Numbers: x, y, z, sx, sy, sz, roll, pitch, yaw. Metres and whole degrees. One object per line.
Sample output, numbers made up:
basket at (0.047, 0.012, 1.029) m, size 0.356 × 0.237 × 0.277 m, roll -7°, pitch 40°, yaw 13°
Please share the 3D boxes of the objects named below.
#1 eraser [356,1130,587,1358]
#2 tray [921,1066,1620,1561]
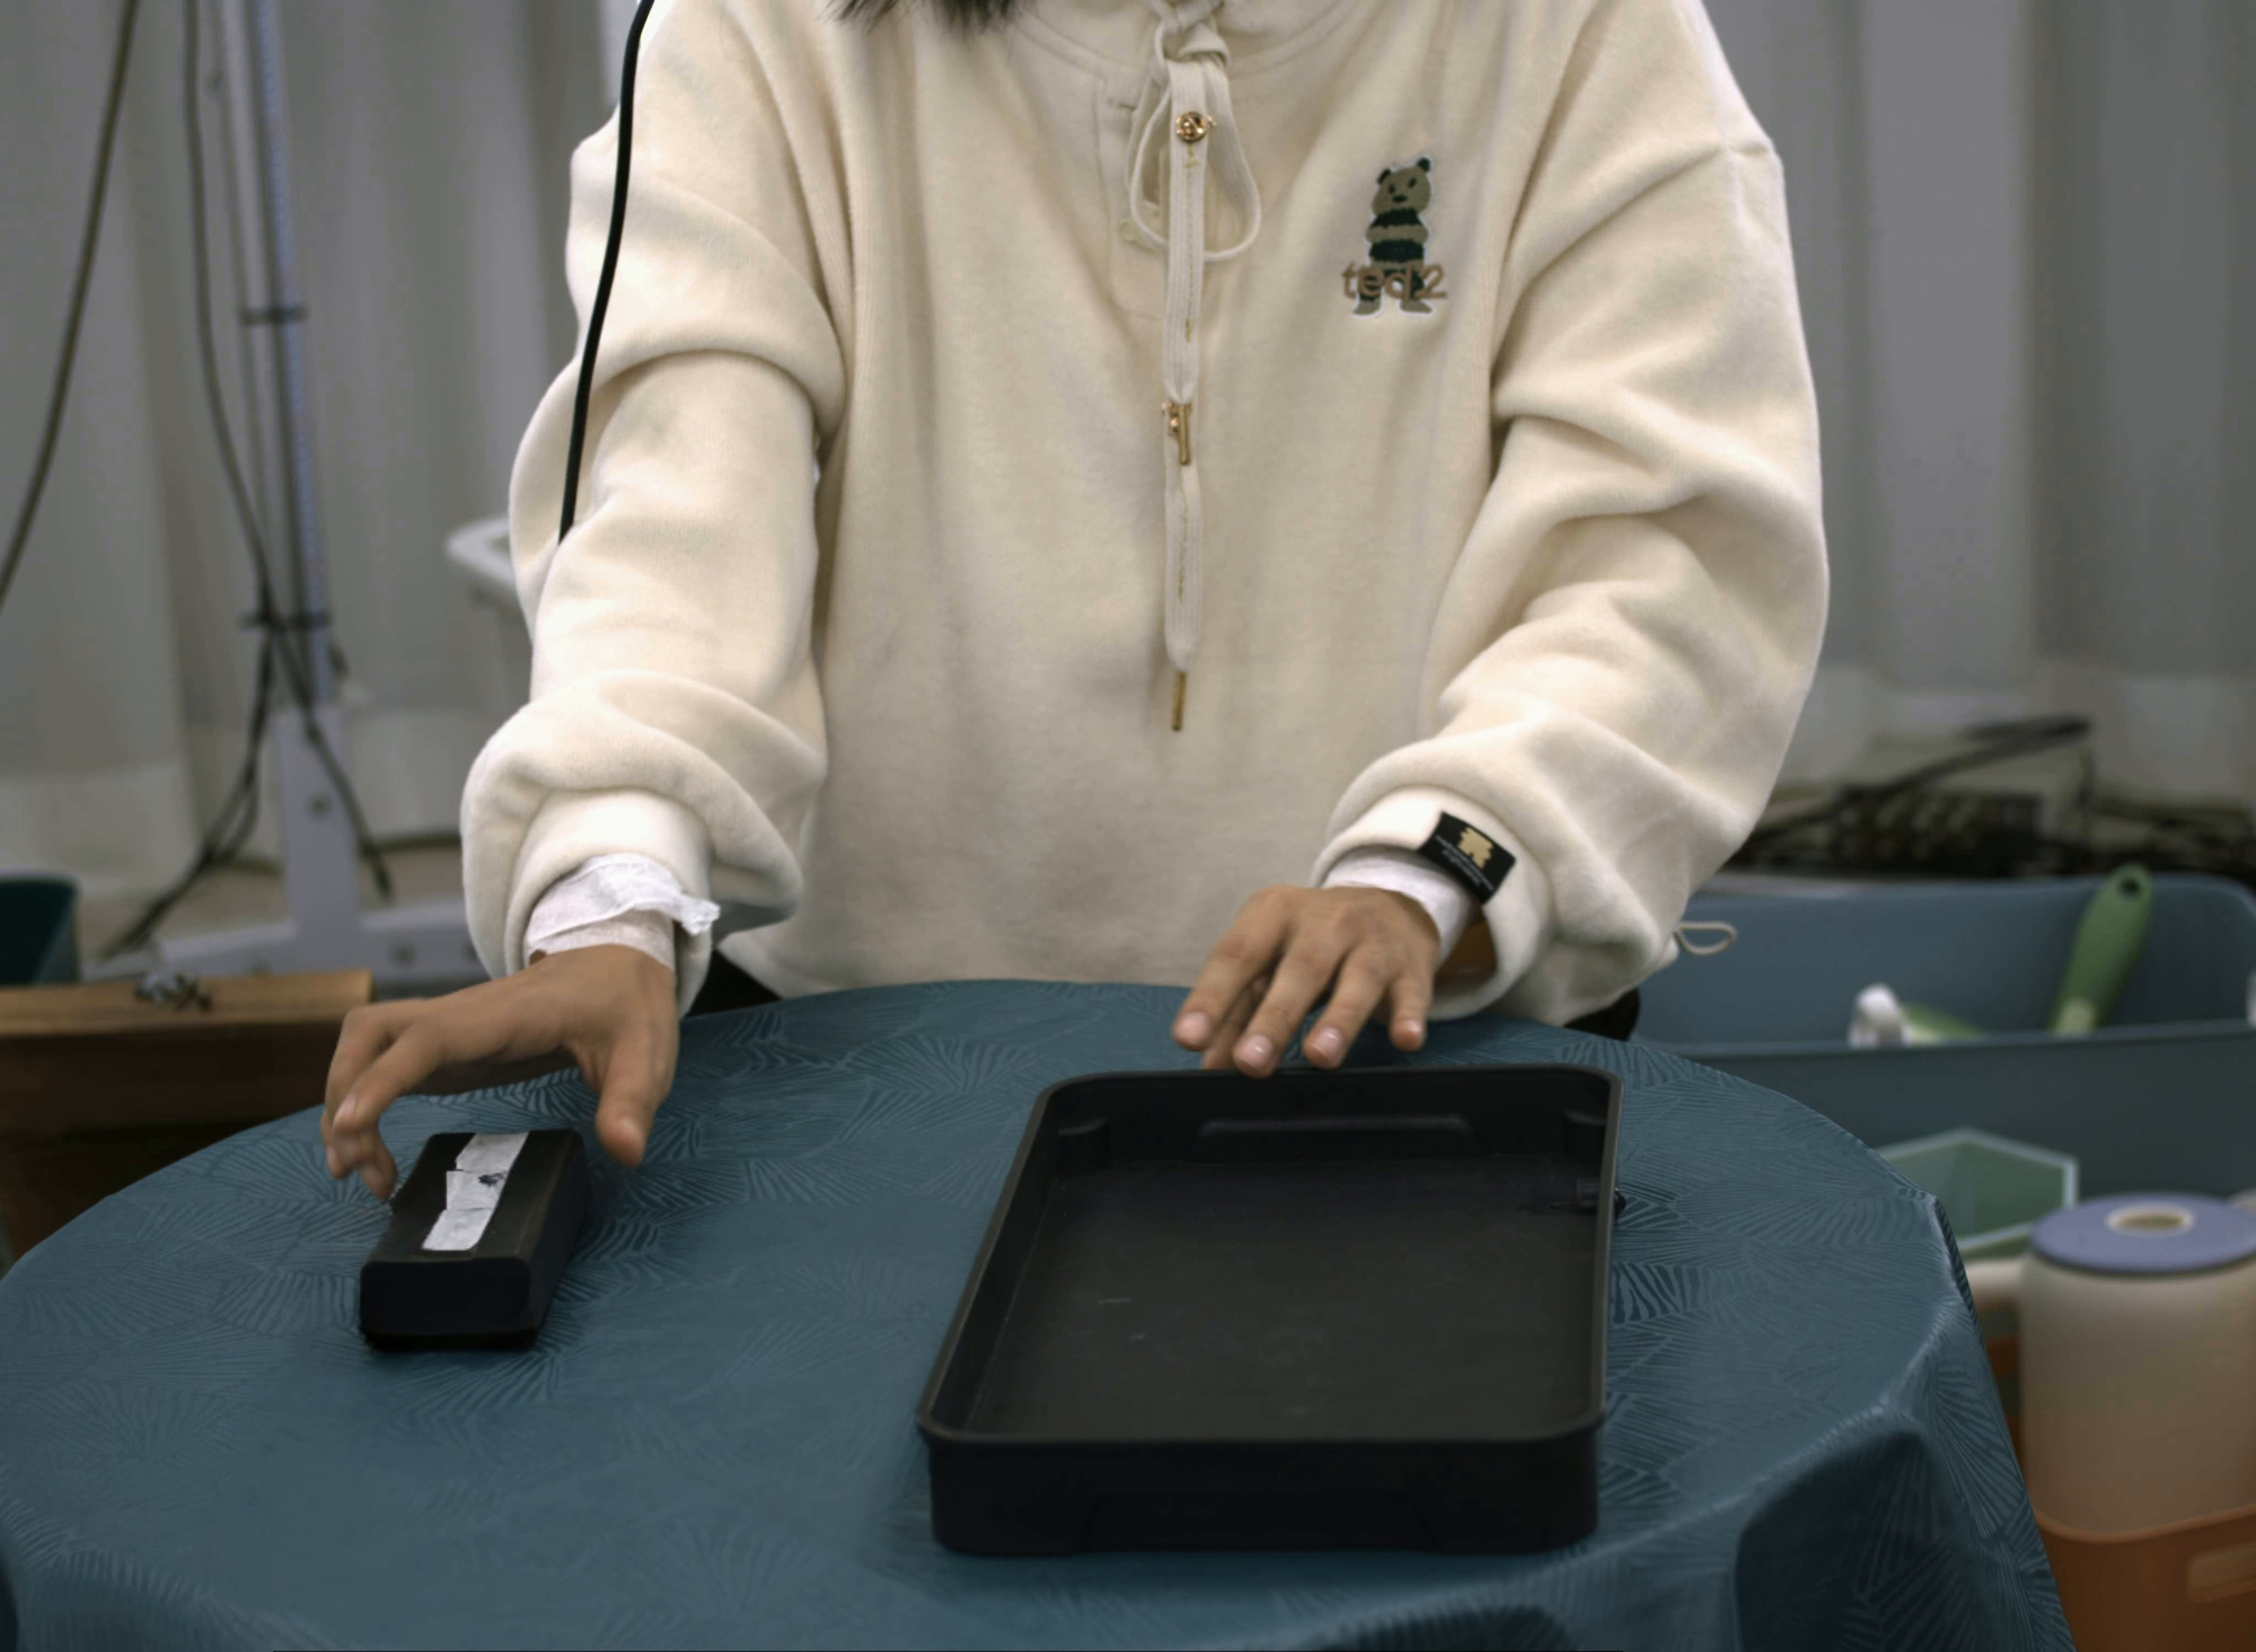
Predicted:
eraser at (-0.197, 0.126, 1.656) m, size 0.053 × 0.030 × 0.126 m, roll 2°, pitch 15°, yaw 1°
tray at (0.048, 0.134, 1.561) m, size 0.184 × 0.037 × 0.320 m, roll -1°, pitch 14°, yaw 5°
